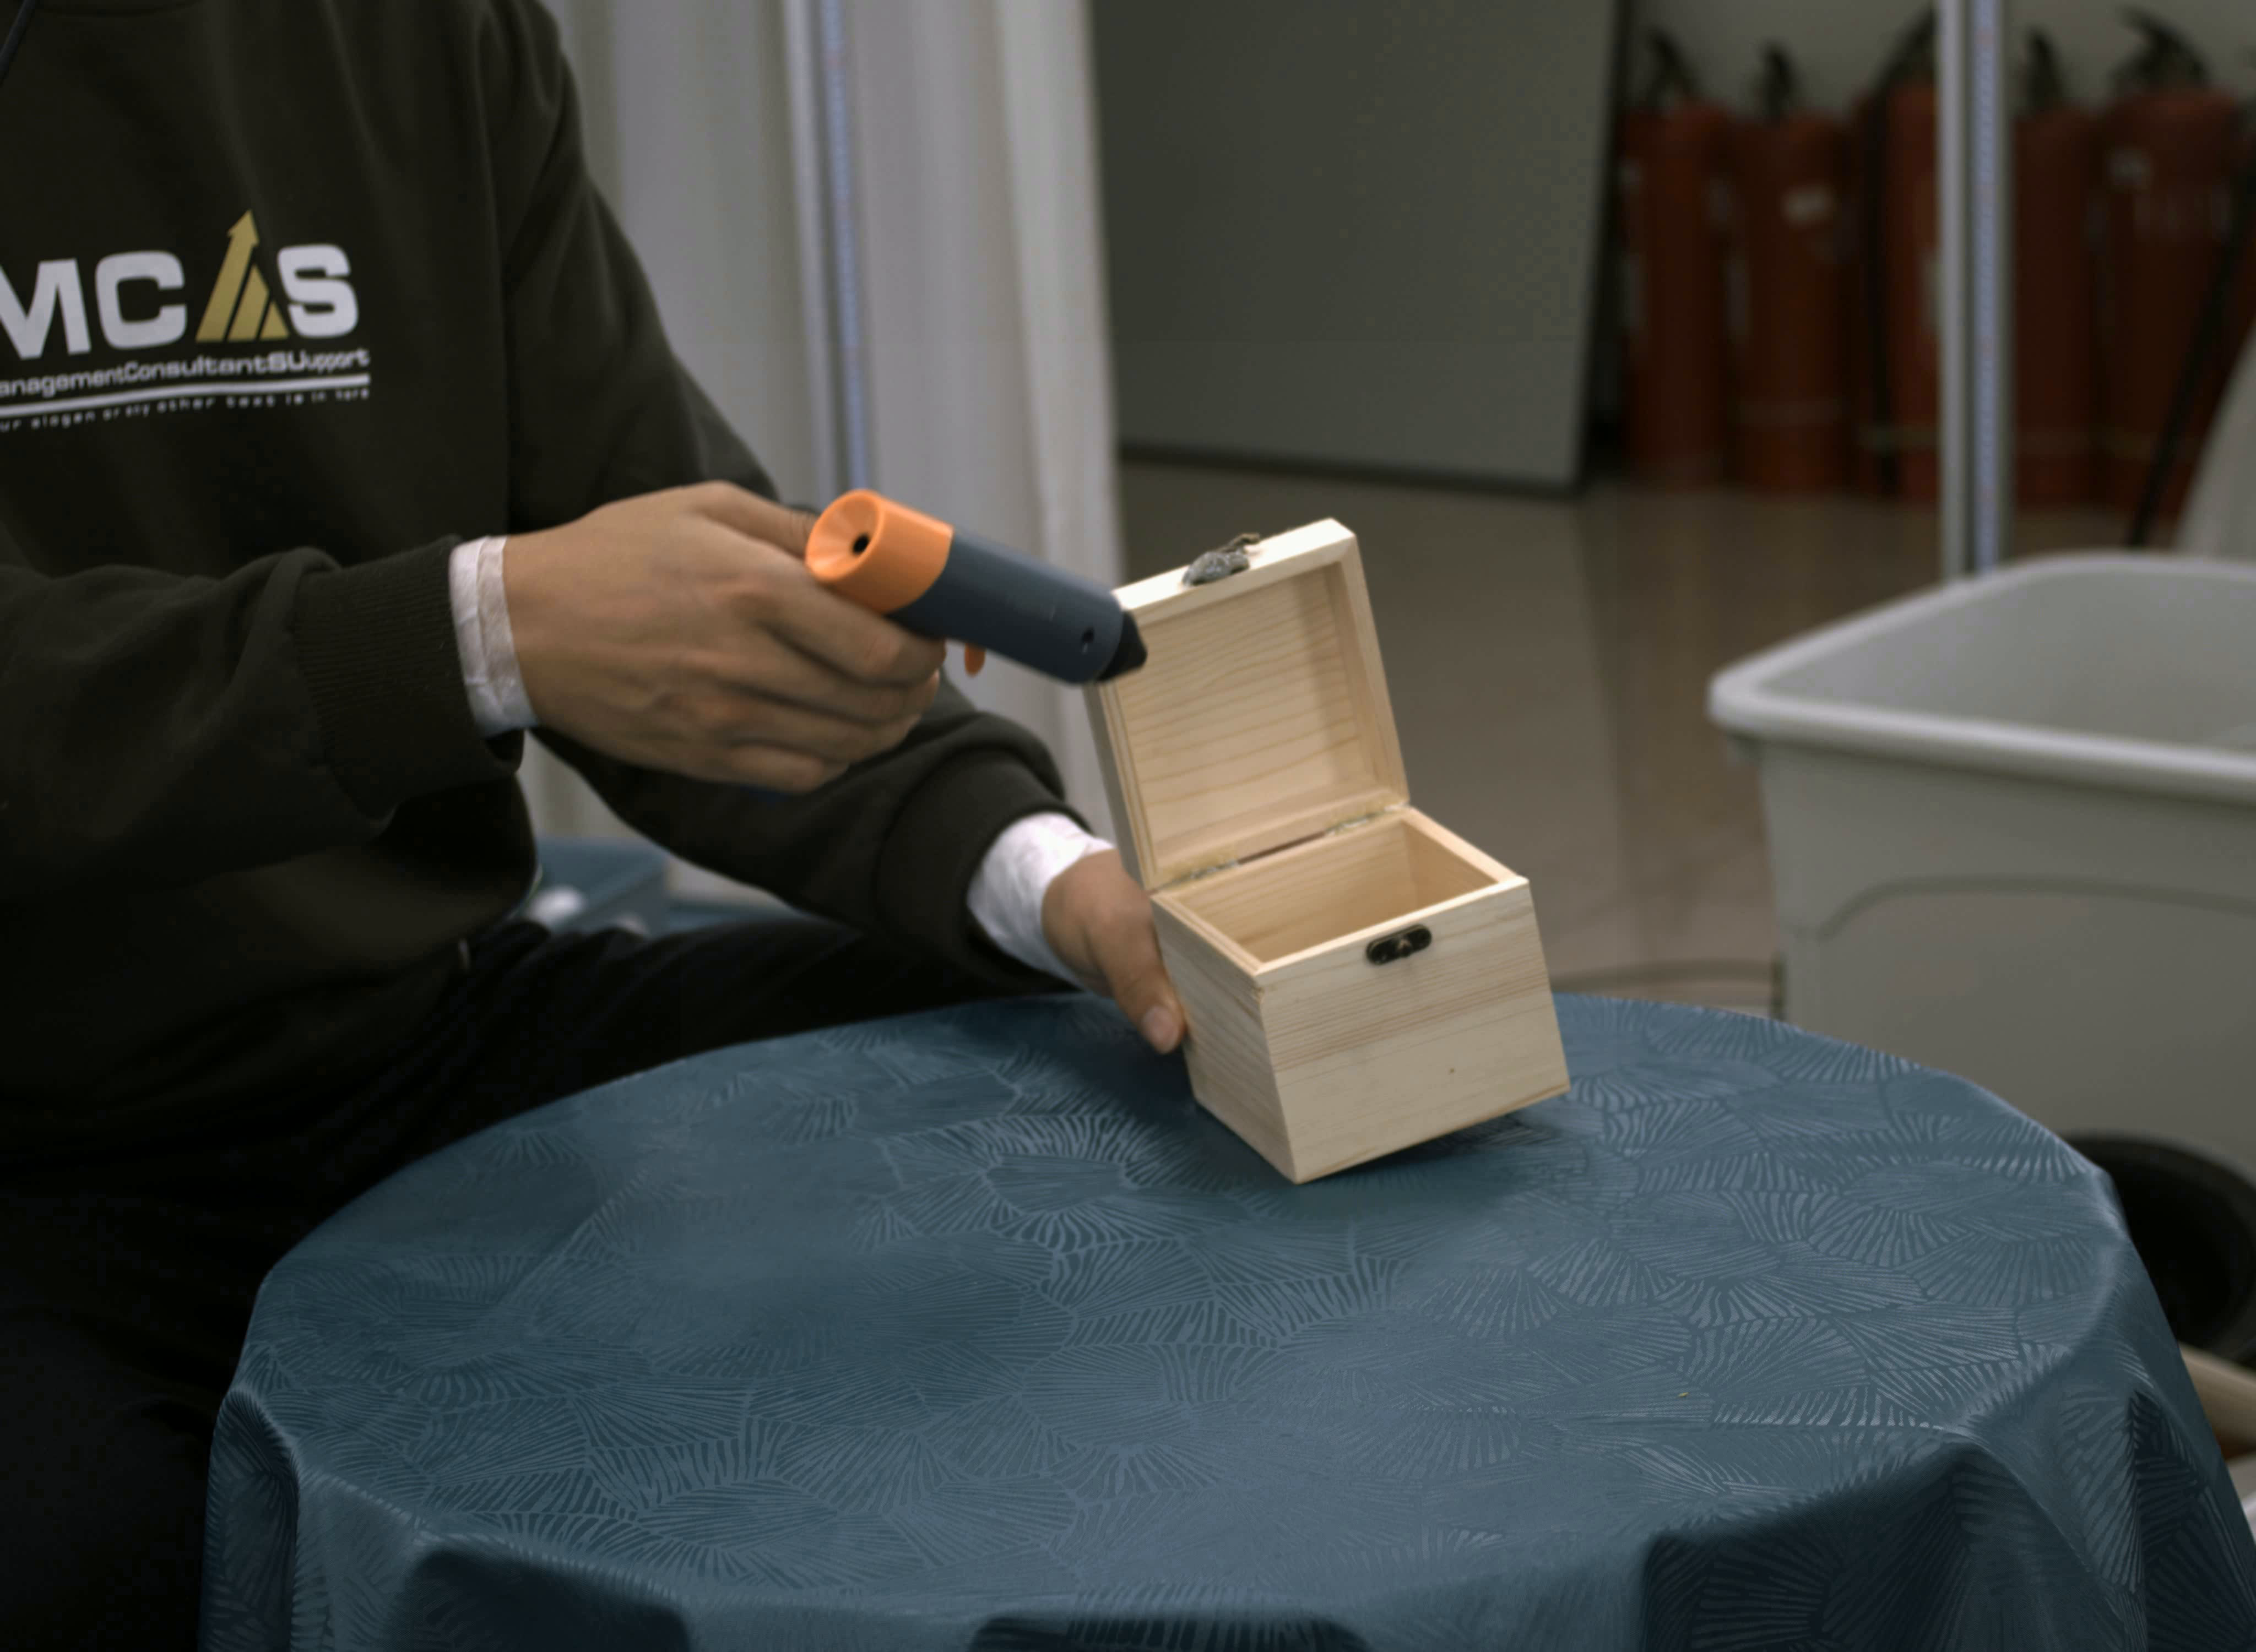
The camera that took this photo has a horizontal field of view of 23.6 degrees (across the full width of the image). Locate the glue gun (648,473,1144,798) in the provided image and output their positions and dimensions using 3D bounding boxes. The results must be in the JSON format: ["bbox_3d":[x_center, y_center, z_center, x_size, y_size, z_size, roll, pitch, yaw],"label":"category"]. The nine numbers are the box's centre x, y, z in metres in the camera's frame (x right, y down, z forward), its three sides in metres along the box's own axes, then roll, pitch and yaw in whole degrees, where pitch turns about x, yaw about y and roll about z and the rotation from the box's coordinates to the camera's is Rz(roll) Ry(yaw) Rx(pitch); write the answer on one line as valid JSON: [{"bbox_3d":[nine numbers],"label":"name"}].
[{"bbox_3d":[-0.077,-0.060,1.763,0.140,0.041,0.116,-25,-42,28],"label":"glue gun"}]

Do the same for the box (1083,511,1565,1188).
[{"bbox_3d":[0.063,0.005,1.809,0.101,0.186,0.135,-18,19,-15],"label":"box"}]
